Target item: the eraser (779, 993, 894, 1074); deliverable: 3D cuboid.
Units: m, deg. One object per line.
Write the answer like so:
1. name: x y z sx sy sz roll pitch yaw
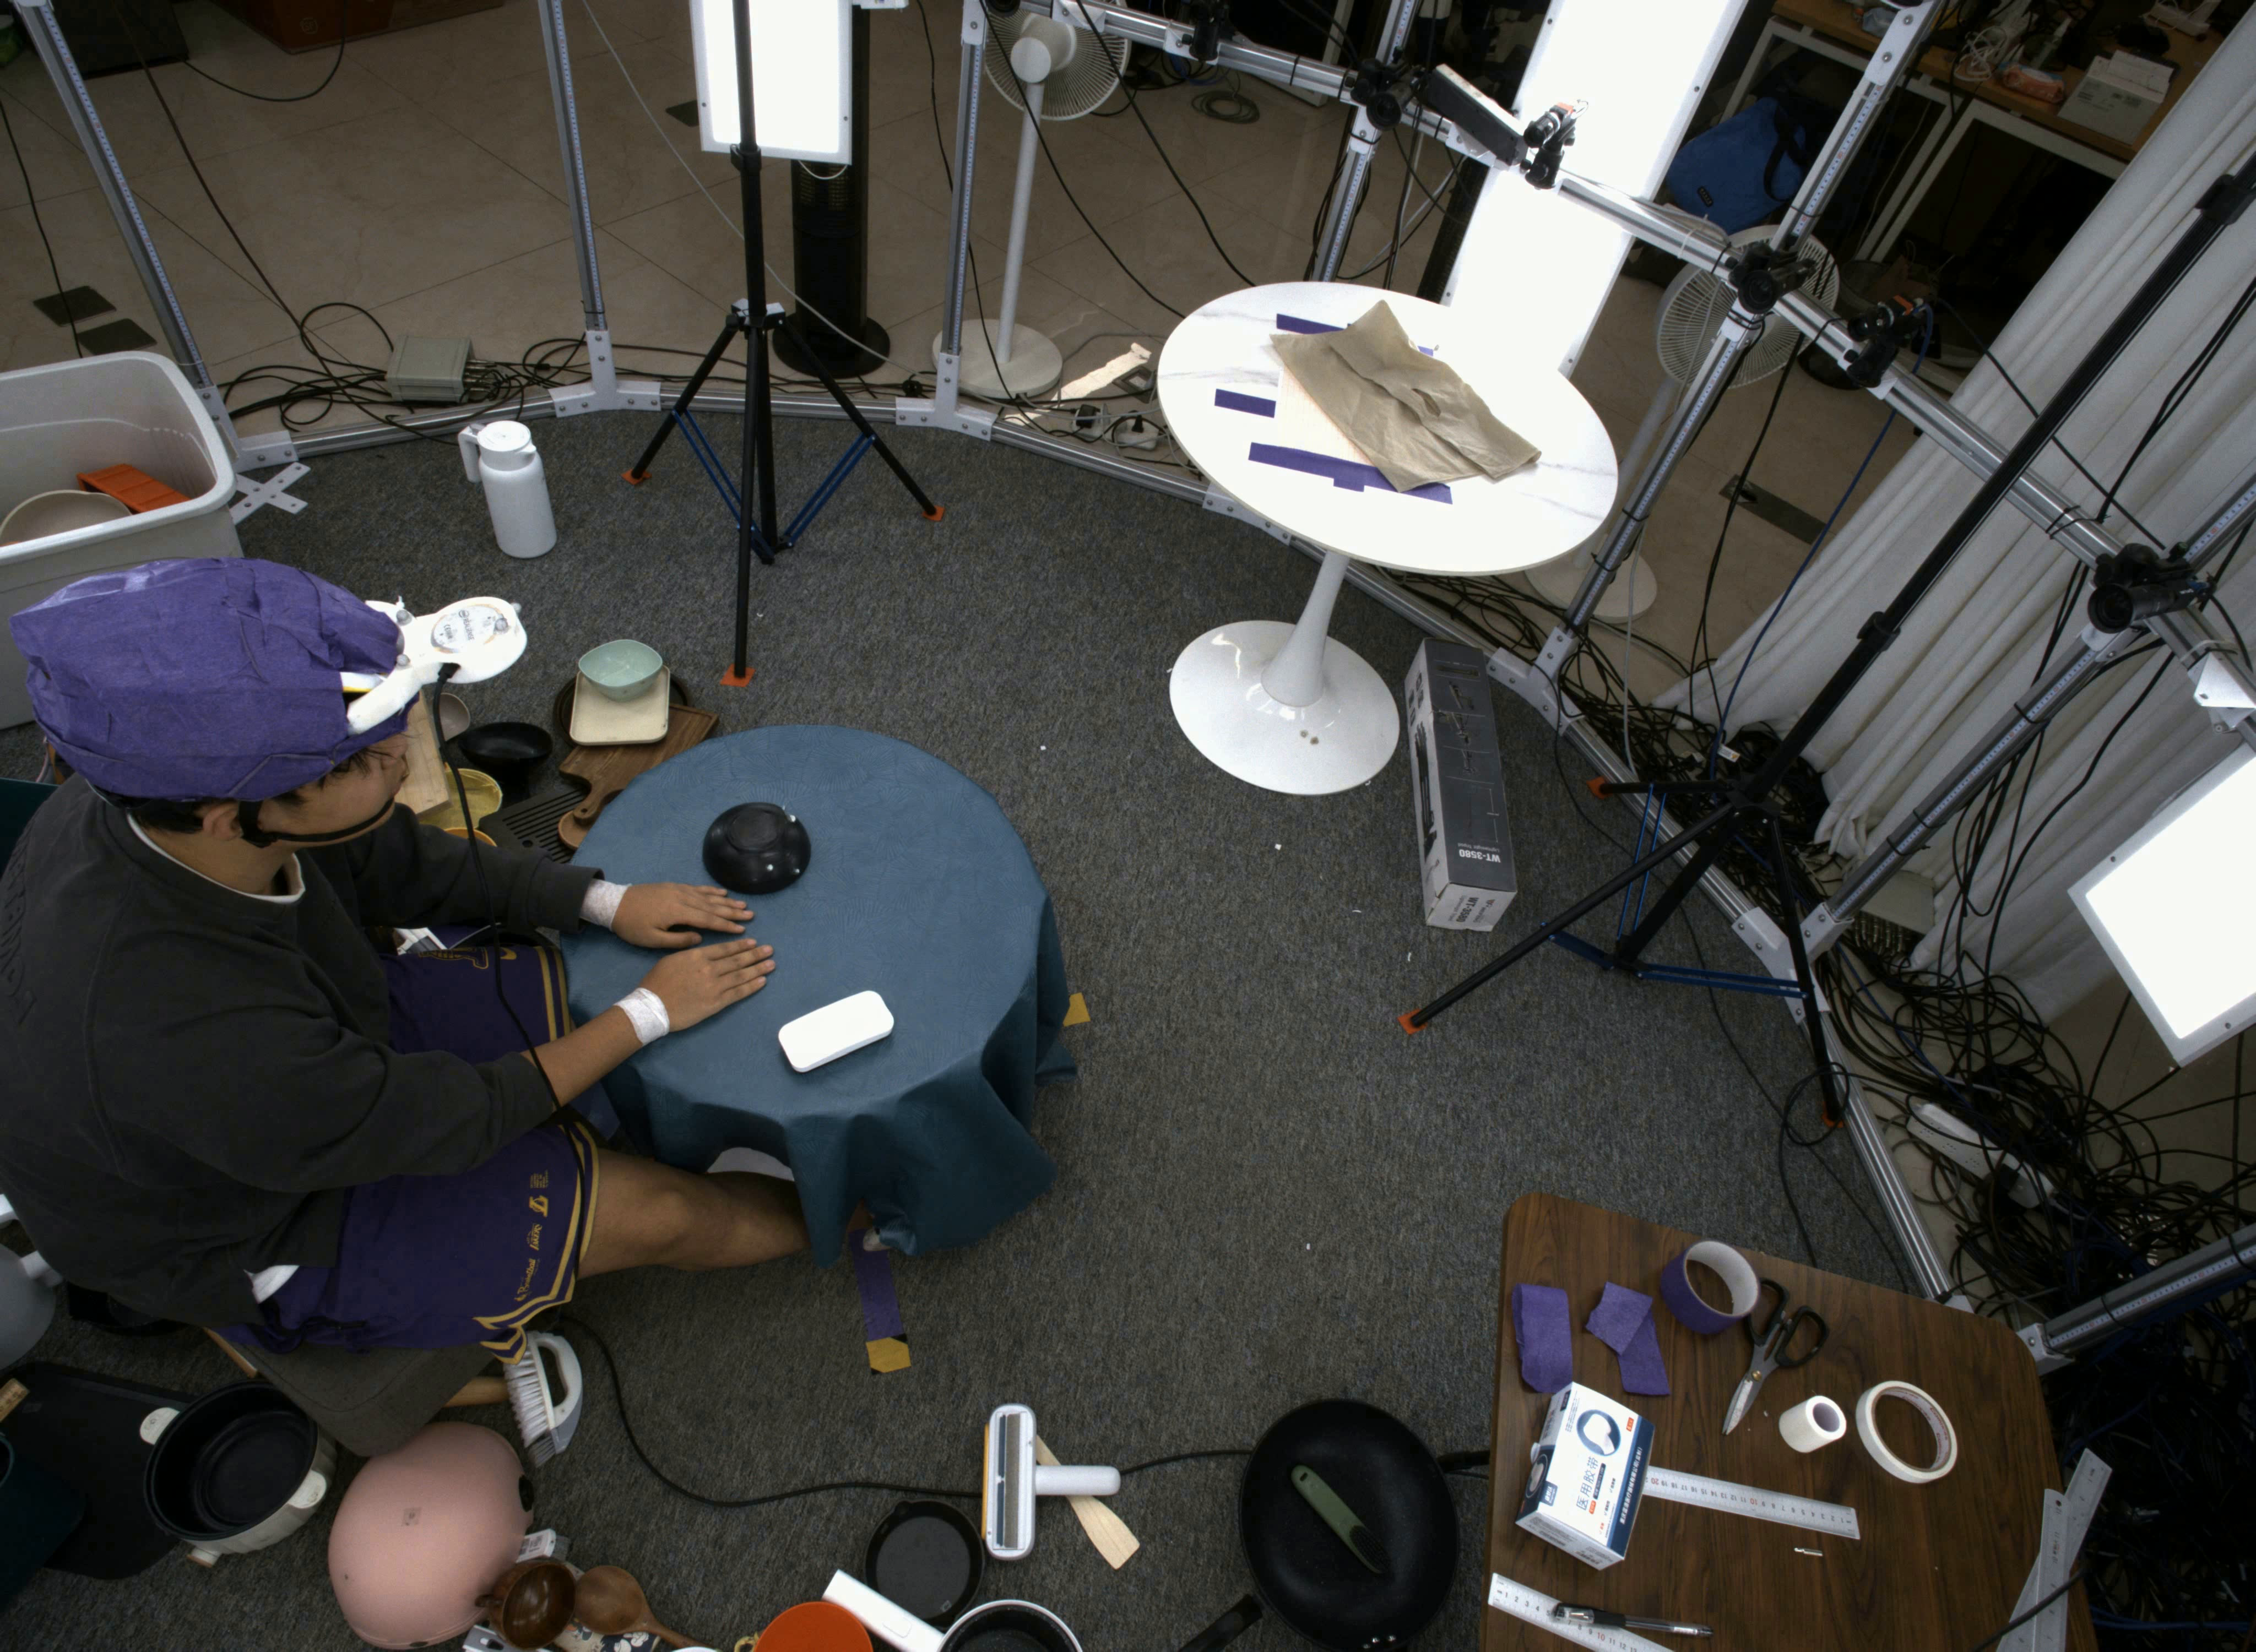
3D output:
1. eraser: -0.348 0.242 1.547 0.132 0.035 0.062 -20 59 -28

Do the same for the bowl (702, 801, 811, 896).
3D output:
1. bowl: -0.480 0.017 1.668 0.140 0.050 0.137 9 53 -10
